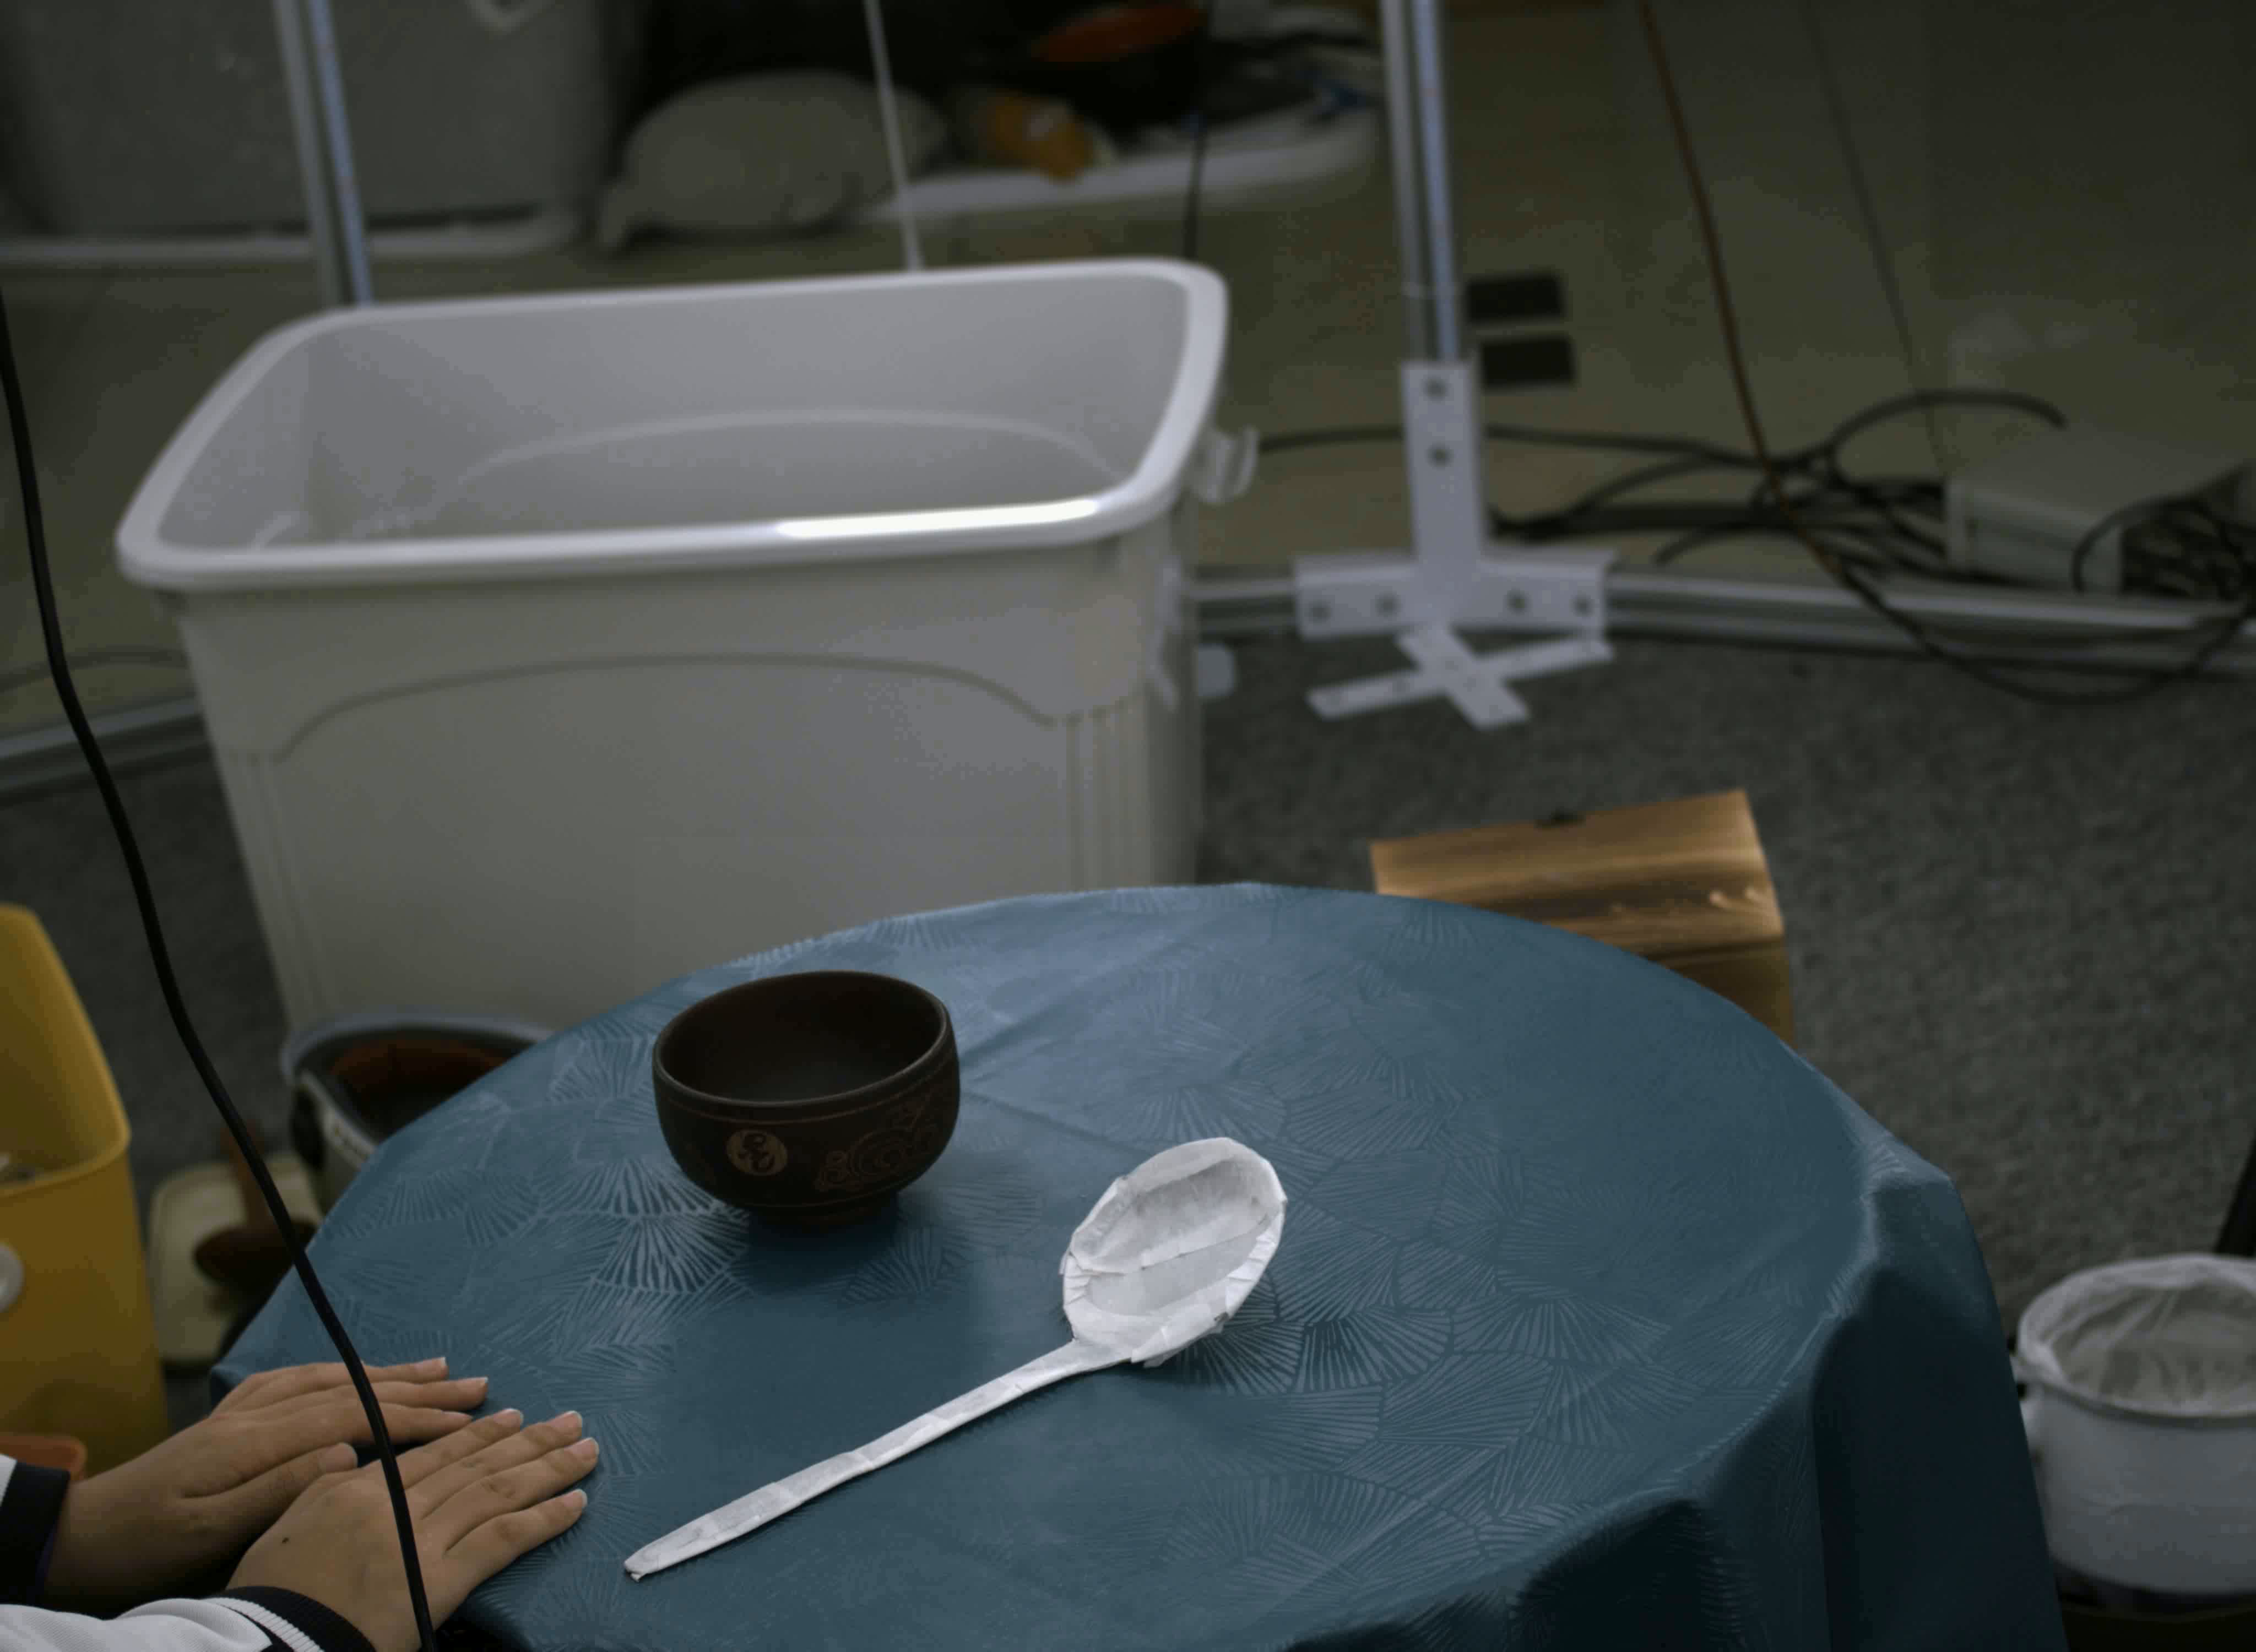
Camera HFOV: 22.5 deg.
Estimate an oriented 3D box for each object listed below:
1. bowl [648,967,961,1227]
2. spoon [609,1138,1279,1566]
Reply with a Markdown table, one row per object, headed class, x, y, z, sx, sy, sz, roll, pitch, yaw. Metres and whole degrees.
| class | x | y | z | sx | sy | sz | roll | pitch | yaw |
| --- | --- | --- | --- | --- | --- | --- | --- | --- | --- |
| bowl | -0.120 | 0.109 | 2.155 | 0.118 | 0.071 | 0.116 | -6 | 25 | 3 |
| spoon | -0.068 | 0.183 | 2.002 | 0.276 | 0.060 | 0.100 | -21 | 26 | -28 |
